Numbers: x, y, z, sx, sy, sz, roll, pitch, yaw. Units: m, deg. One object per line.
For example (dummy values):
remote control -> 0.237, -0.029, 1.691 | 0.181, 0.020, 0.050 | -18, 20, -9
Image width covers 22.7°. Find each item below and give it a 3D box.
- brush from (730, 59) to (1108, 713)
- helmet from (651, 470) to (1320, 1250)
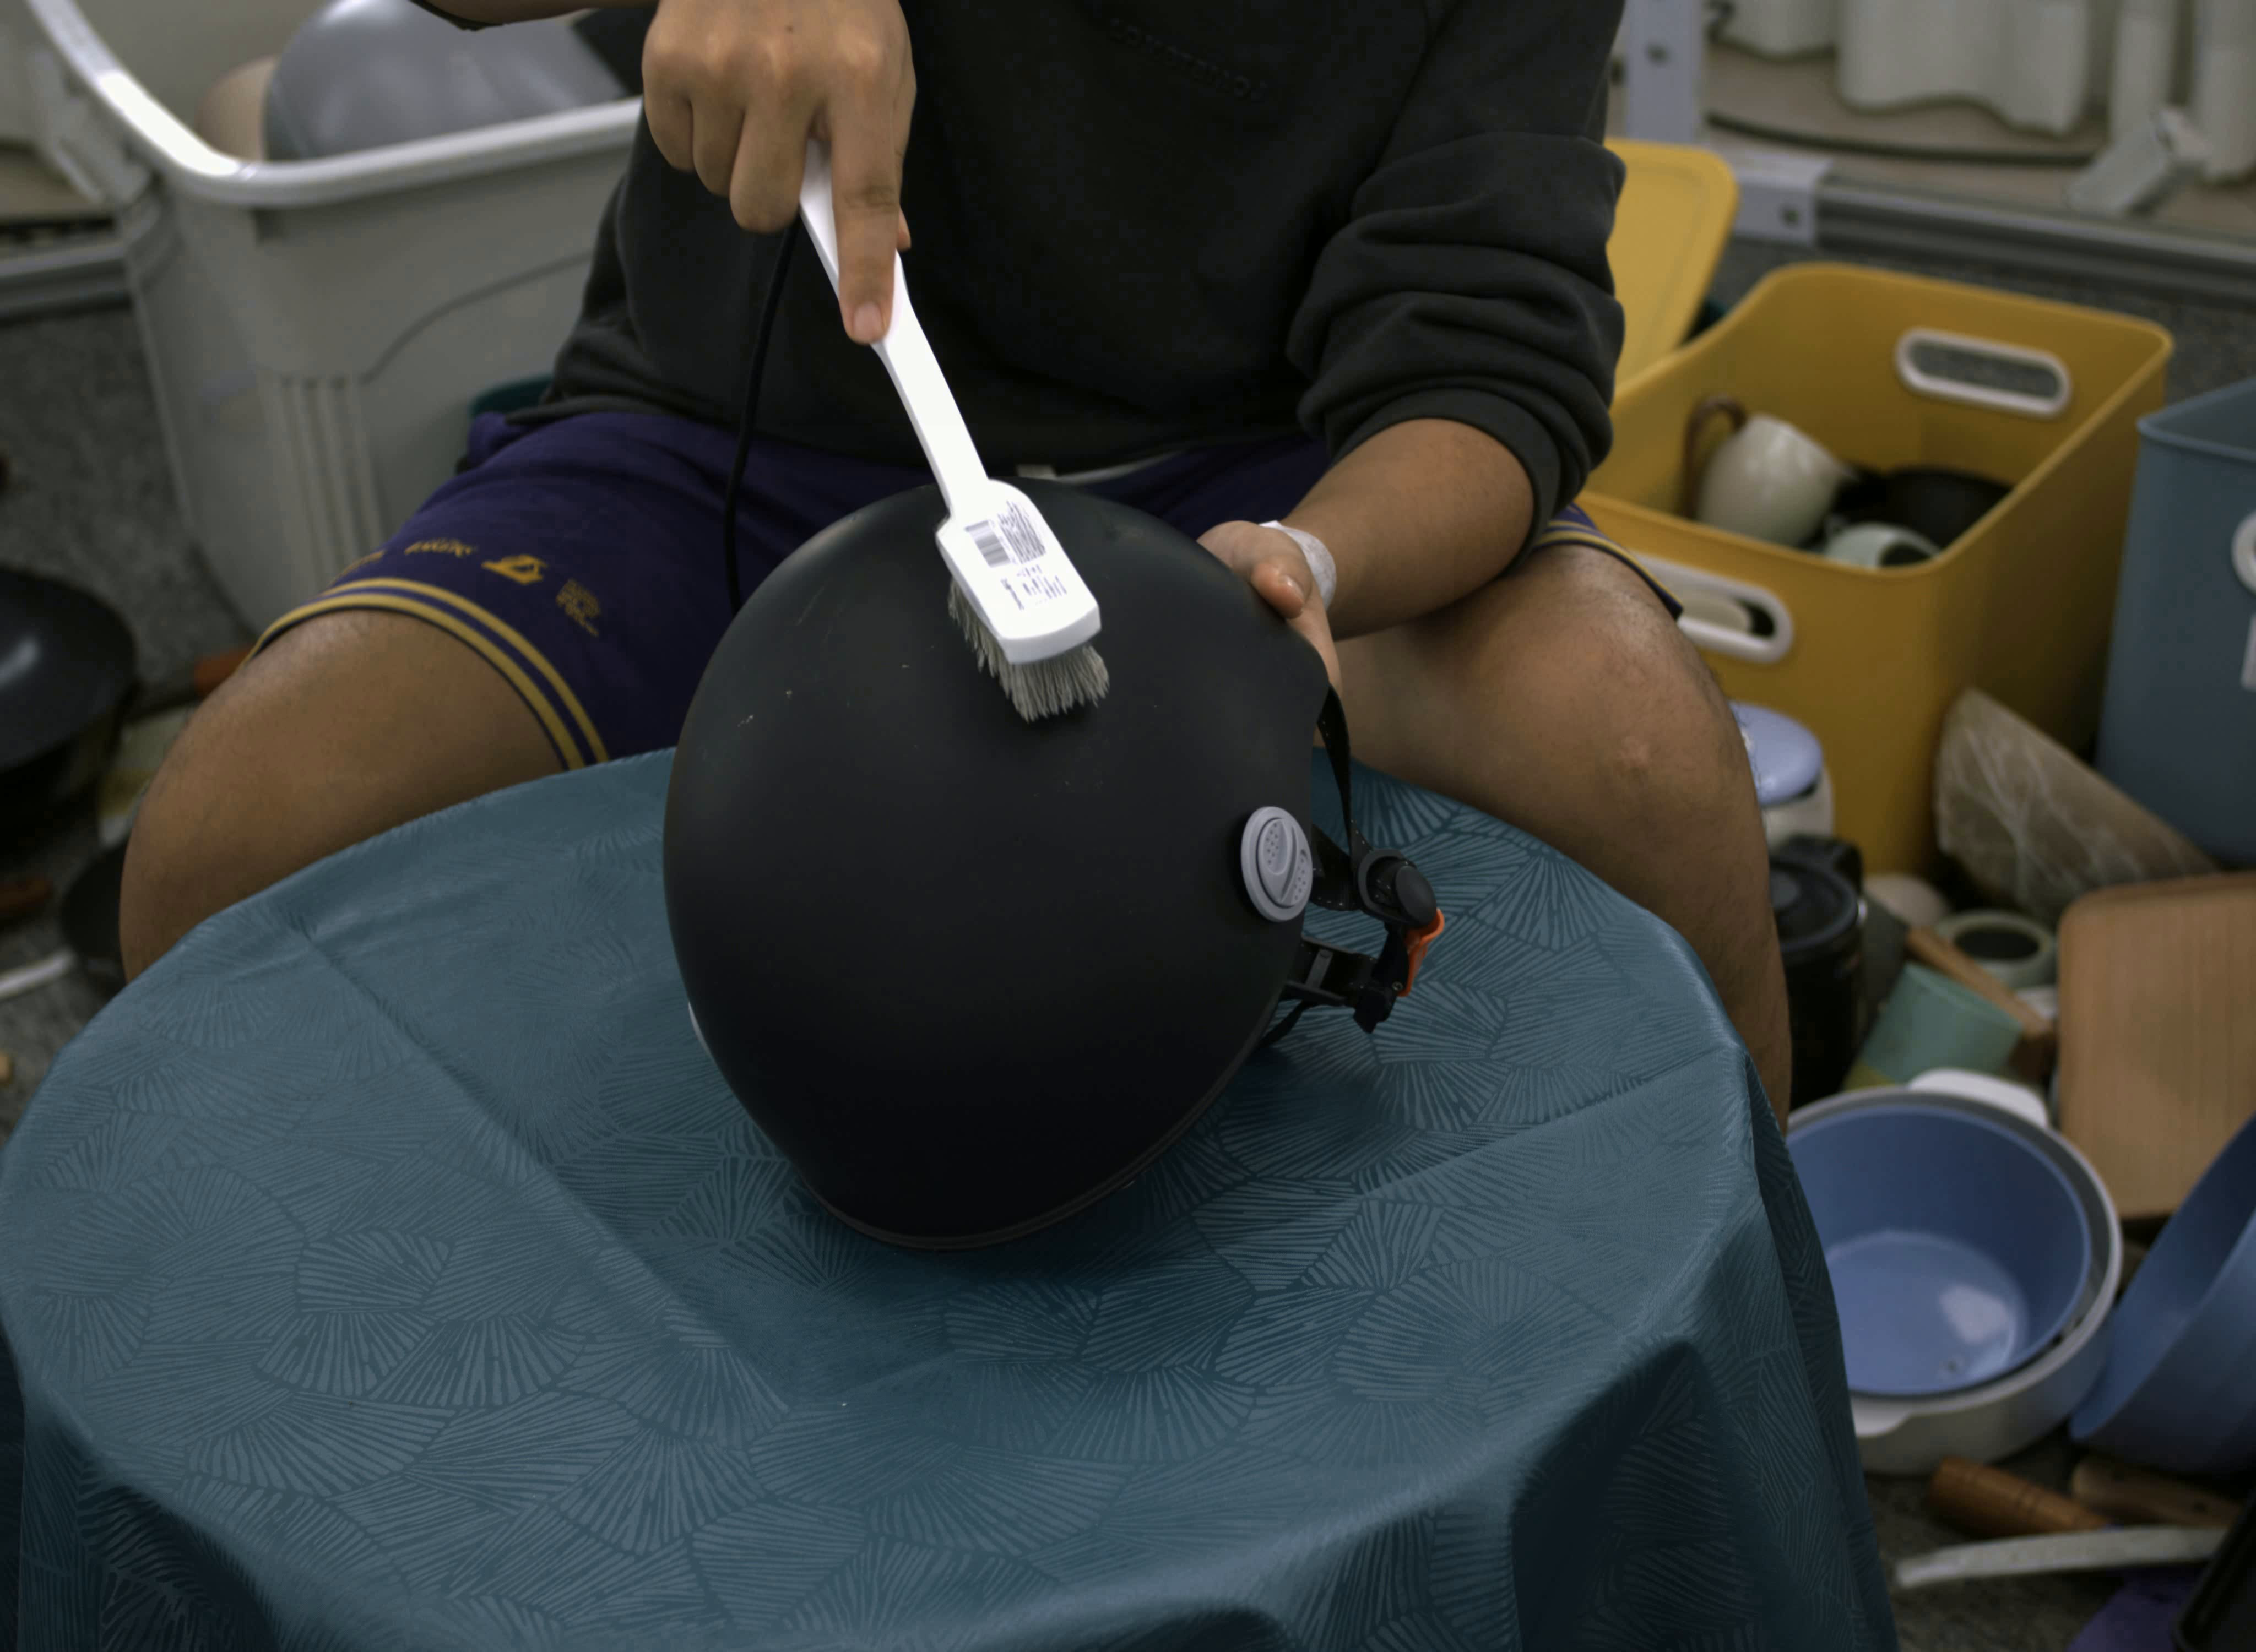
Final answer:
brush -> -0.070, -0.141, 1.807 | 0.034, 0.049, 0.246 | -22, 65, -14
helmet -> -0.060, -0.011, 1.859 | 0.227, 0.165, 0.279 | -17, 40, 29
